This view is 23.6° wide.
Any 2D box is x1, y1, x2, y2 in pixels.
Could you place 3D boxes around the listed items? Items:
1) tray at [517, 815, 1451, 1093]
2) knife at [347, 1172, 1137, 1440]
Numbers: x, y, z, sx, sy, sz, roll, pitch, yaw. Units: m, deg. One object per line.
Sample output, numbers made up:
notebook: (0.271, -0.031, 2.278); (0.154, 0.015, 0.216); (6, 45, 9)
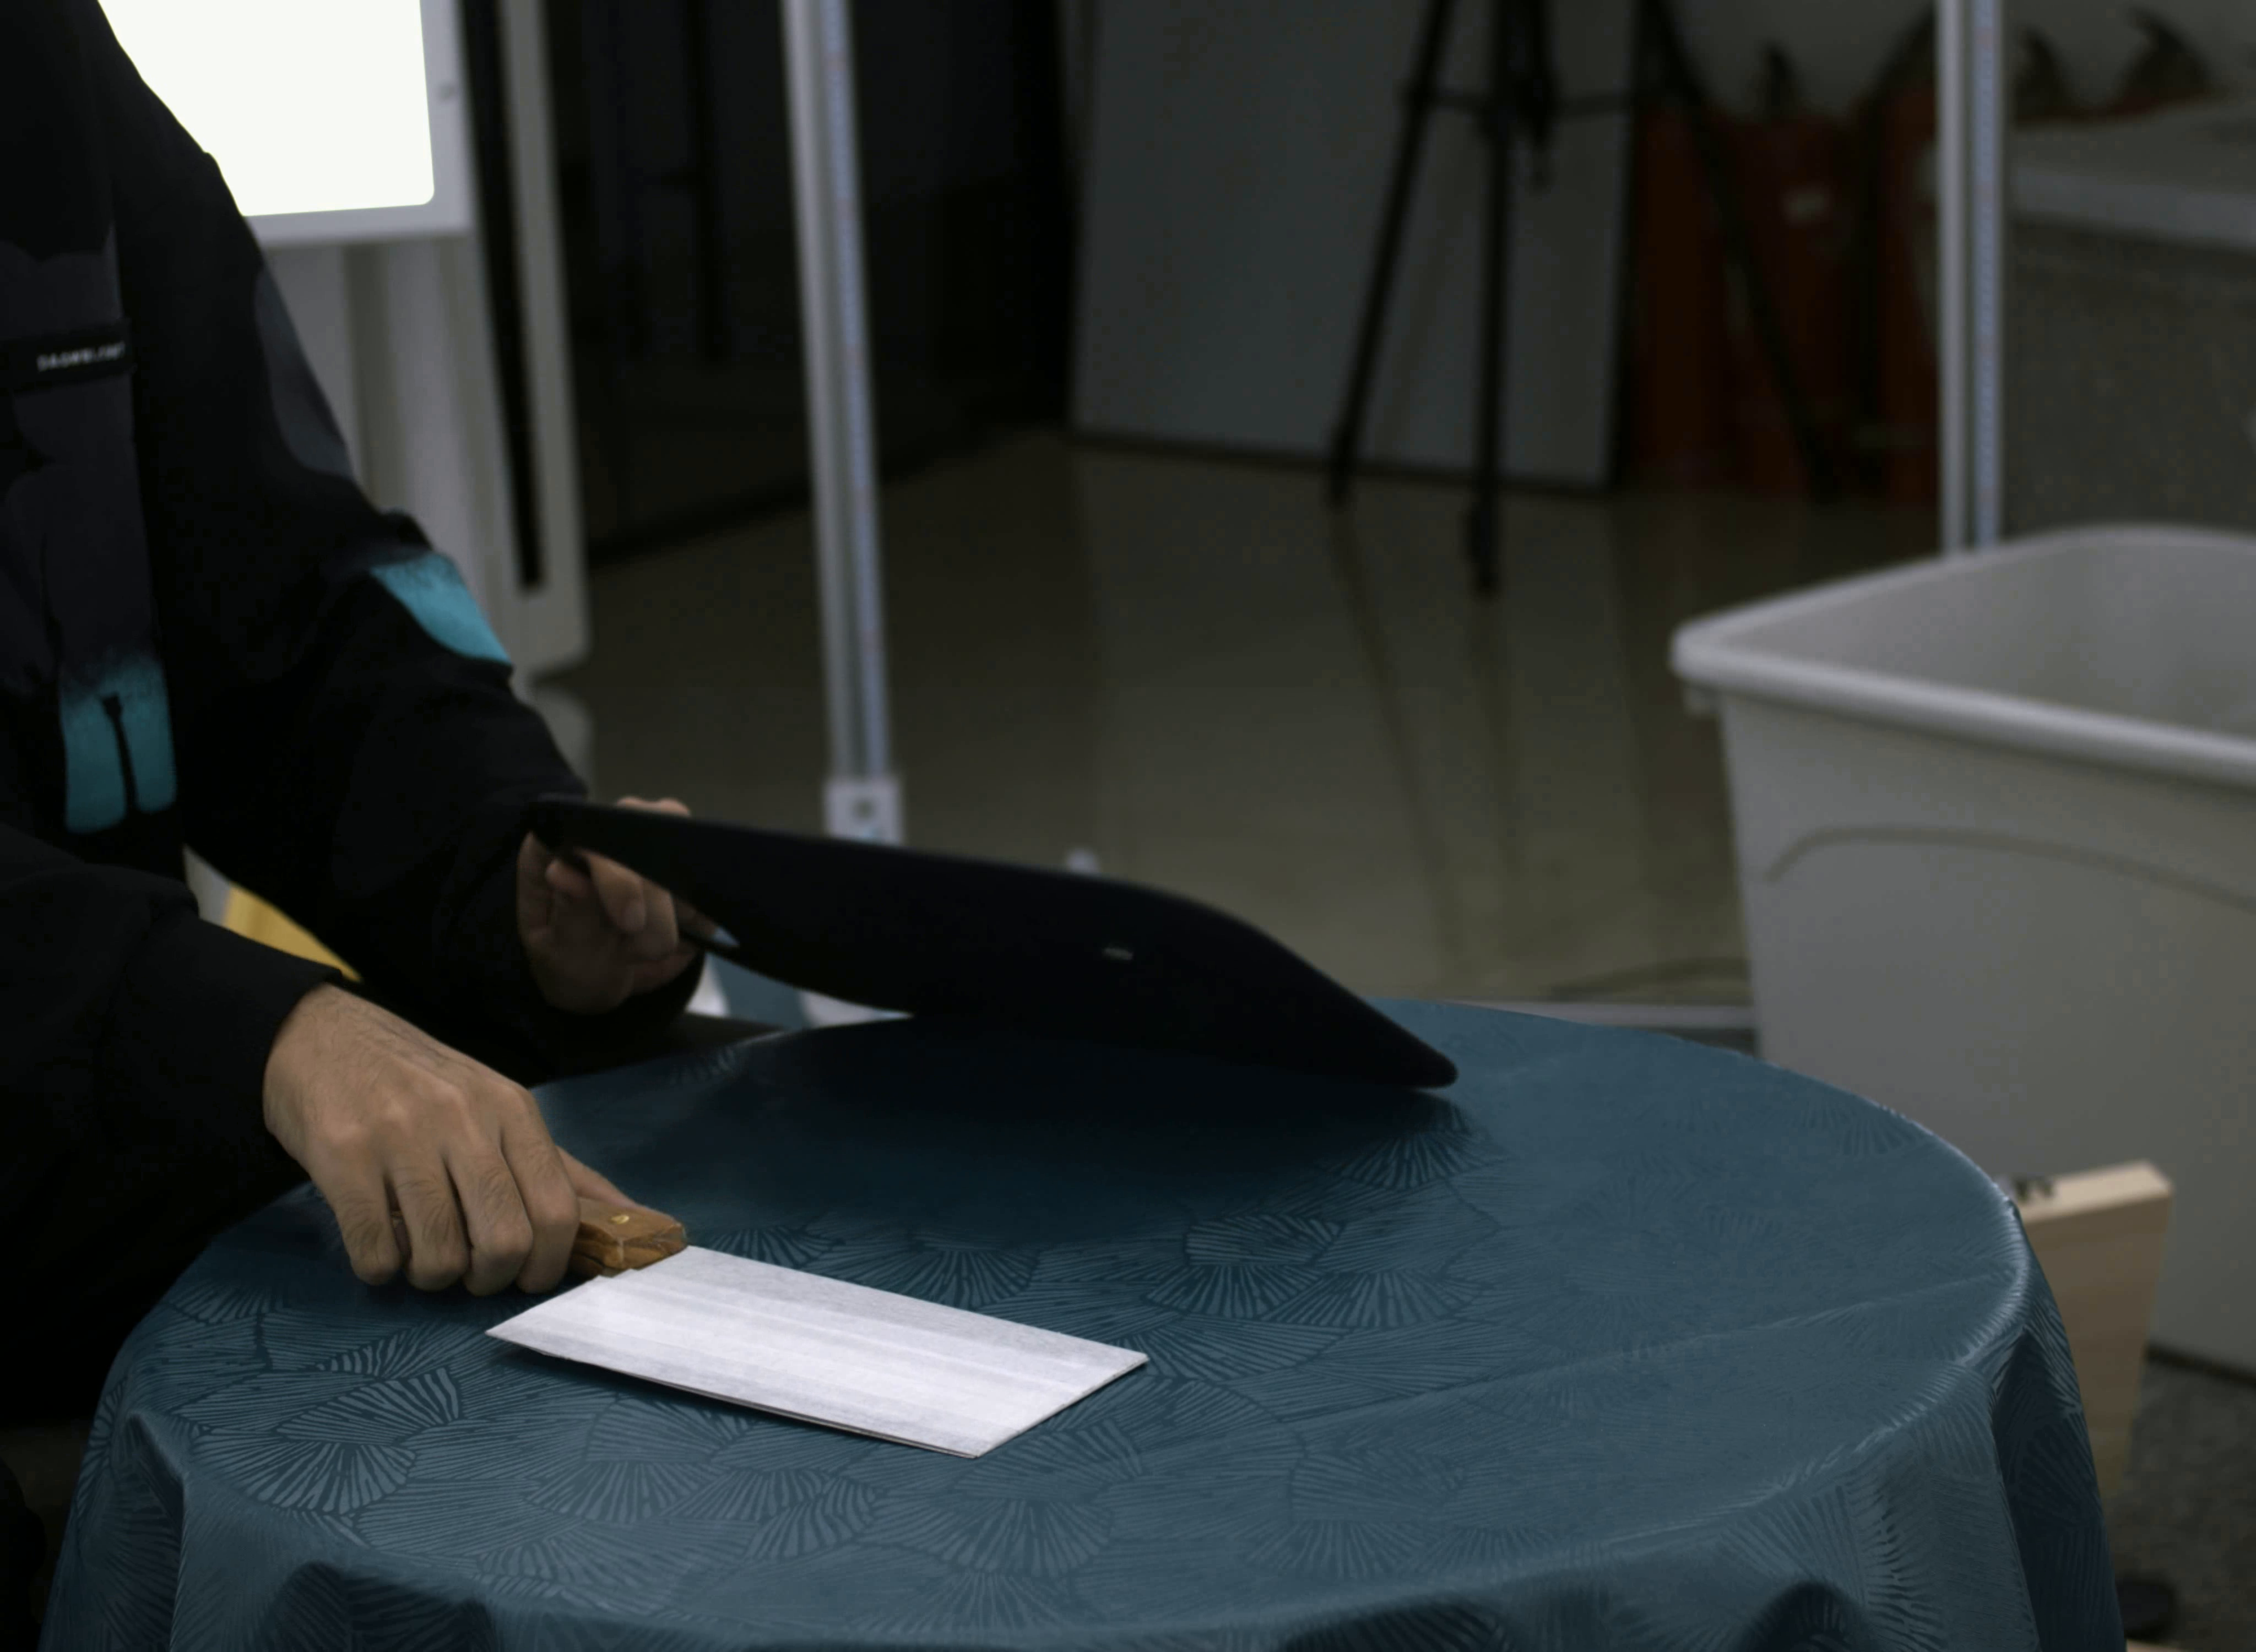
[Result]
tray: (-0.057, 0.042, 1.853); (0.327, 0.010, 0.208); (7, -17, 36)
knife: (-0.139, 0.150, 1.664); (0.308, 0.021, 0.091); (9, 20, 36)
